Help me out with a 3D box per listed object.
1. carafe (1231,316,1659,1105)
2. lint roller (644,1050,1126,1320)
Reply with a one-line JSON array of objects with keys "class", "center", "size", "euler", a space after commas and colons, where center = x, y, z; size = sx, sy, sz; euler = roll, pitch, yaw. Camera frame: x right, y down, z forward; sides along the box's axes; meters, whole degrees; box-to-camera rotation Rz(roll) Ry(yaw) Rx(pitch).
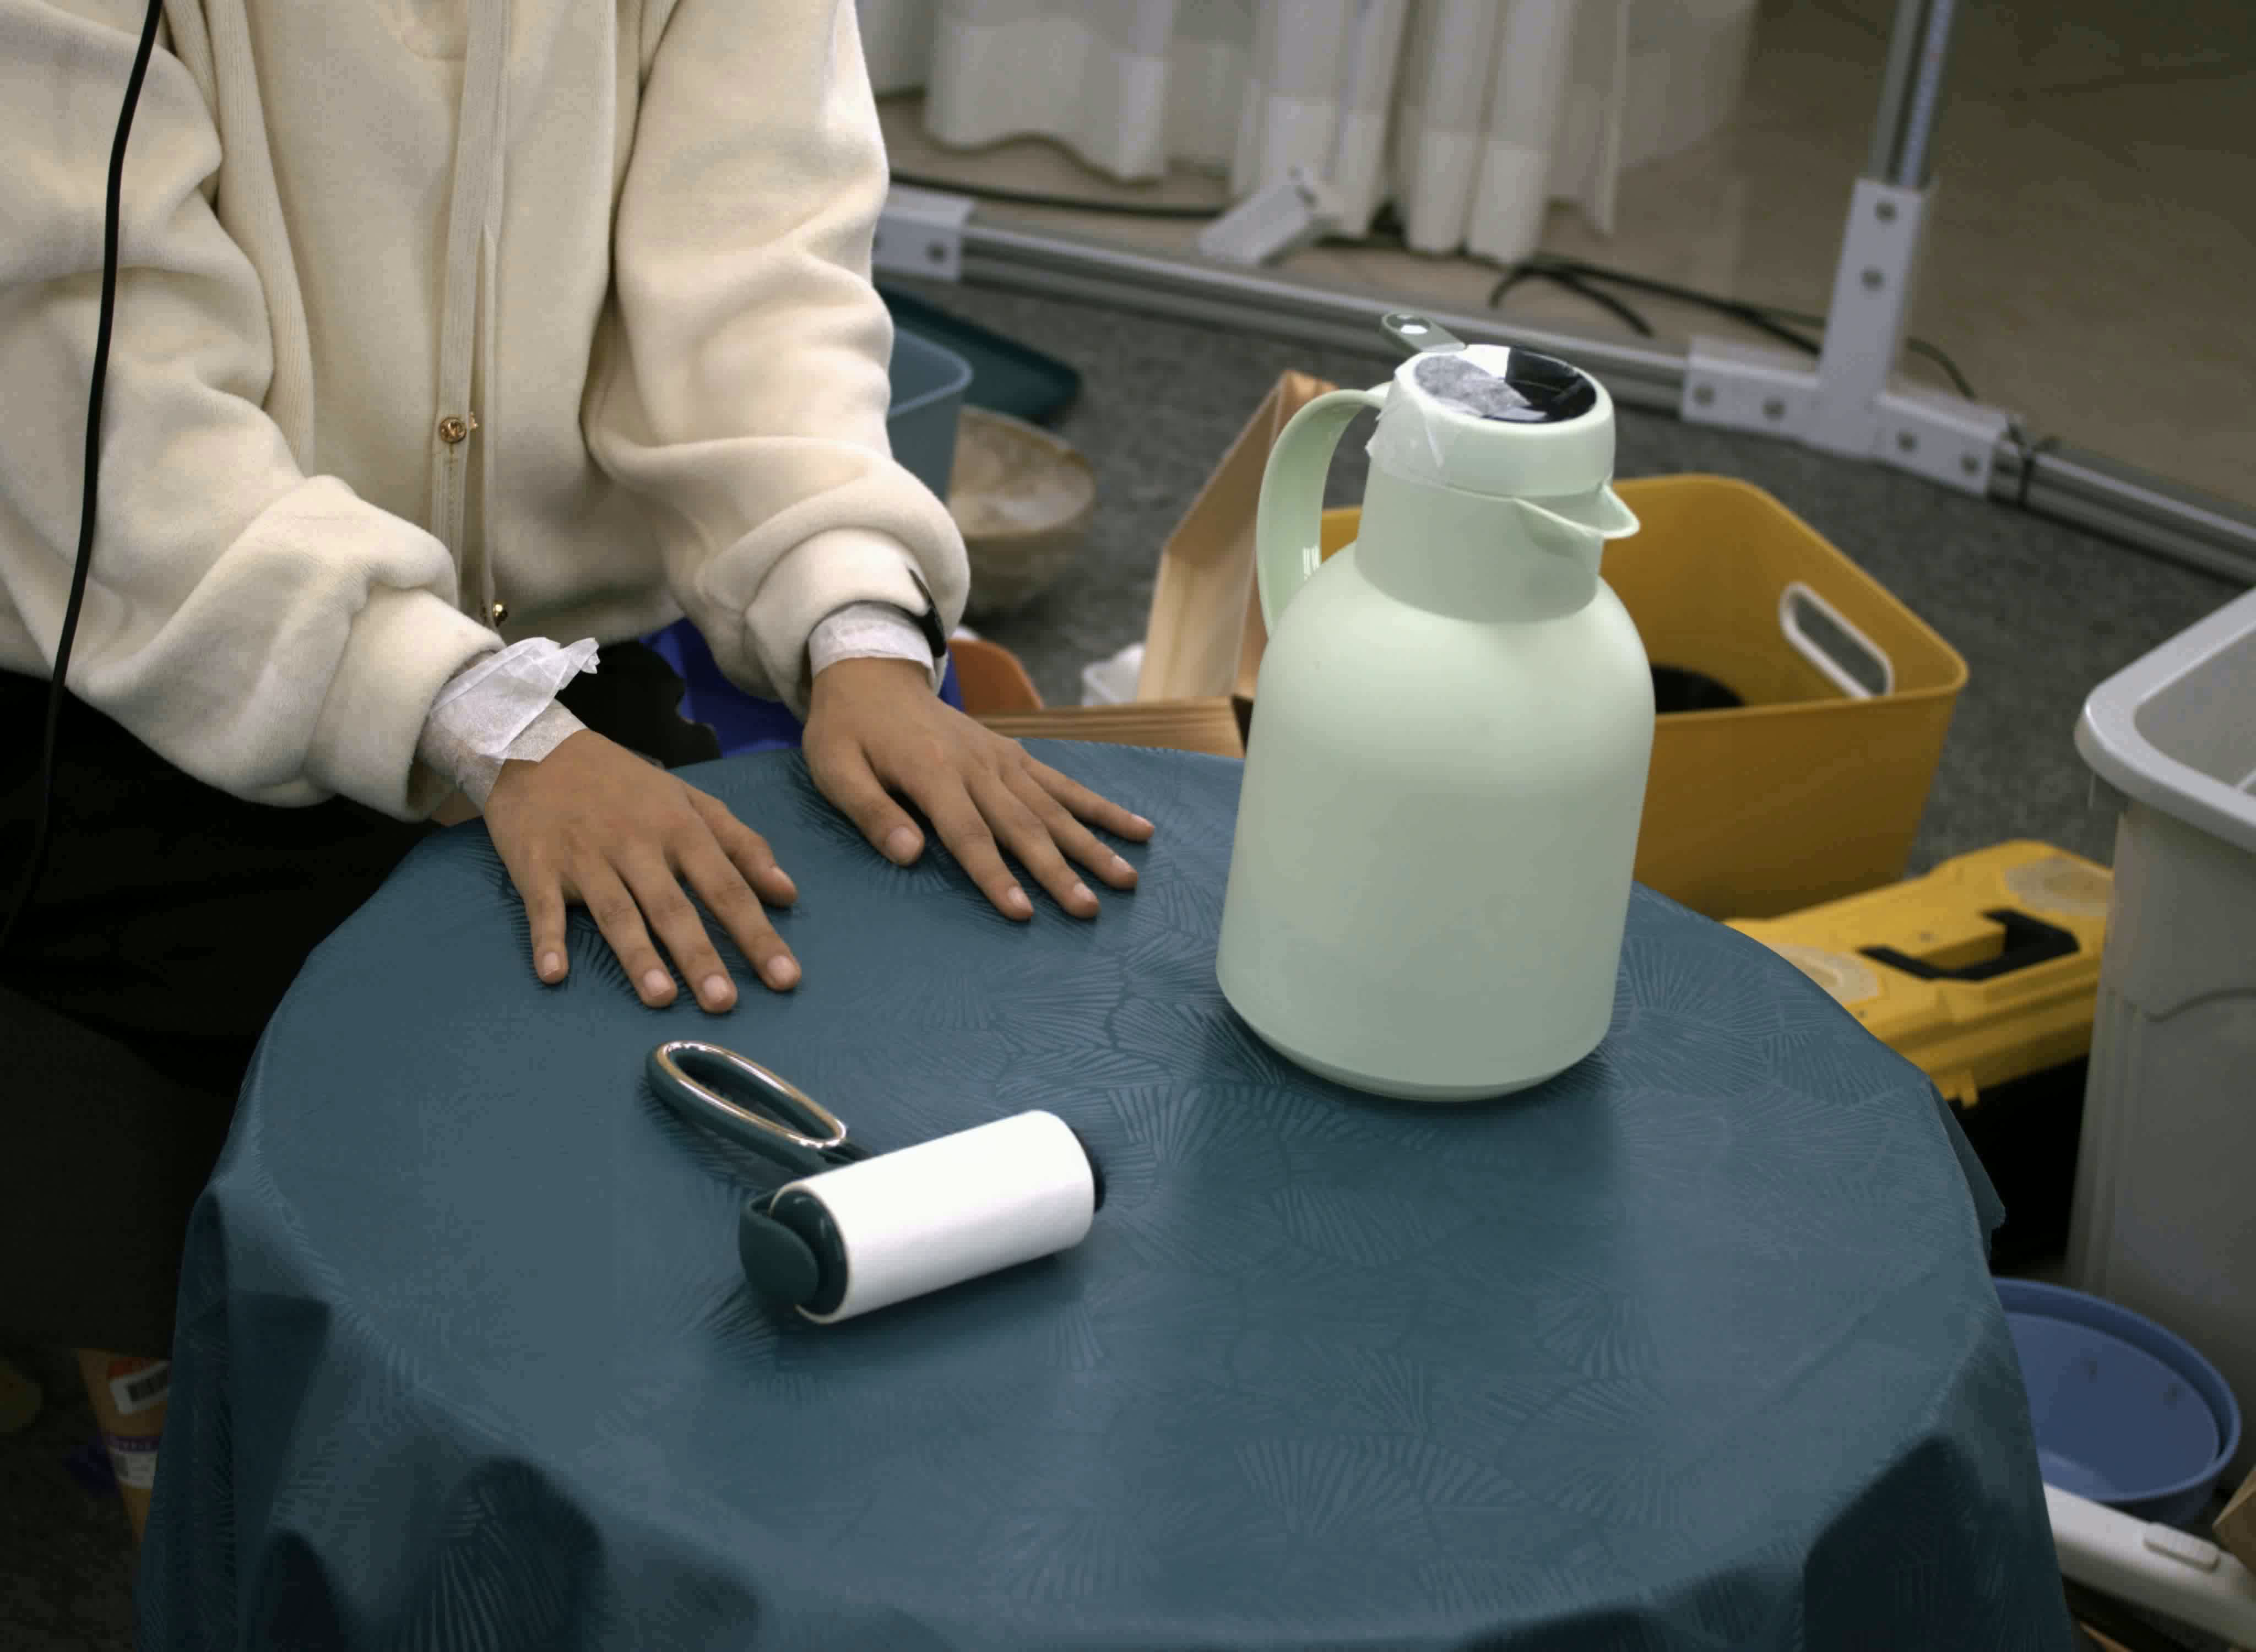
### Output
[{"class": "carafe", "center": [0.109, -0.046, 1.885], "size": [0.143, 0.256, 0.188], "euler": [-13, 29, -31]}, {"class": "lint roller", "center": [-0.105, 0.098, 1.775], "size": [0.133, 0.048, 0.181], "euler": [-14, 33, -36]}]
